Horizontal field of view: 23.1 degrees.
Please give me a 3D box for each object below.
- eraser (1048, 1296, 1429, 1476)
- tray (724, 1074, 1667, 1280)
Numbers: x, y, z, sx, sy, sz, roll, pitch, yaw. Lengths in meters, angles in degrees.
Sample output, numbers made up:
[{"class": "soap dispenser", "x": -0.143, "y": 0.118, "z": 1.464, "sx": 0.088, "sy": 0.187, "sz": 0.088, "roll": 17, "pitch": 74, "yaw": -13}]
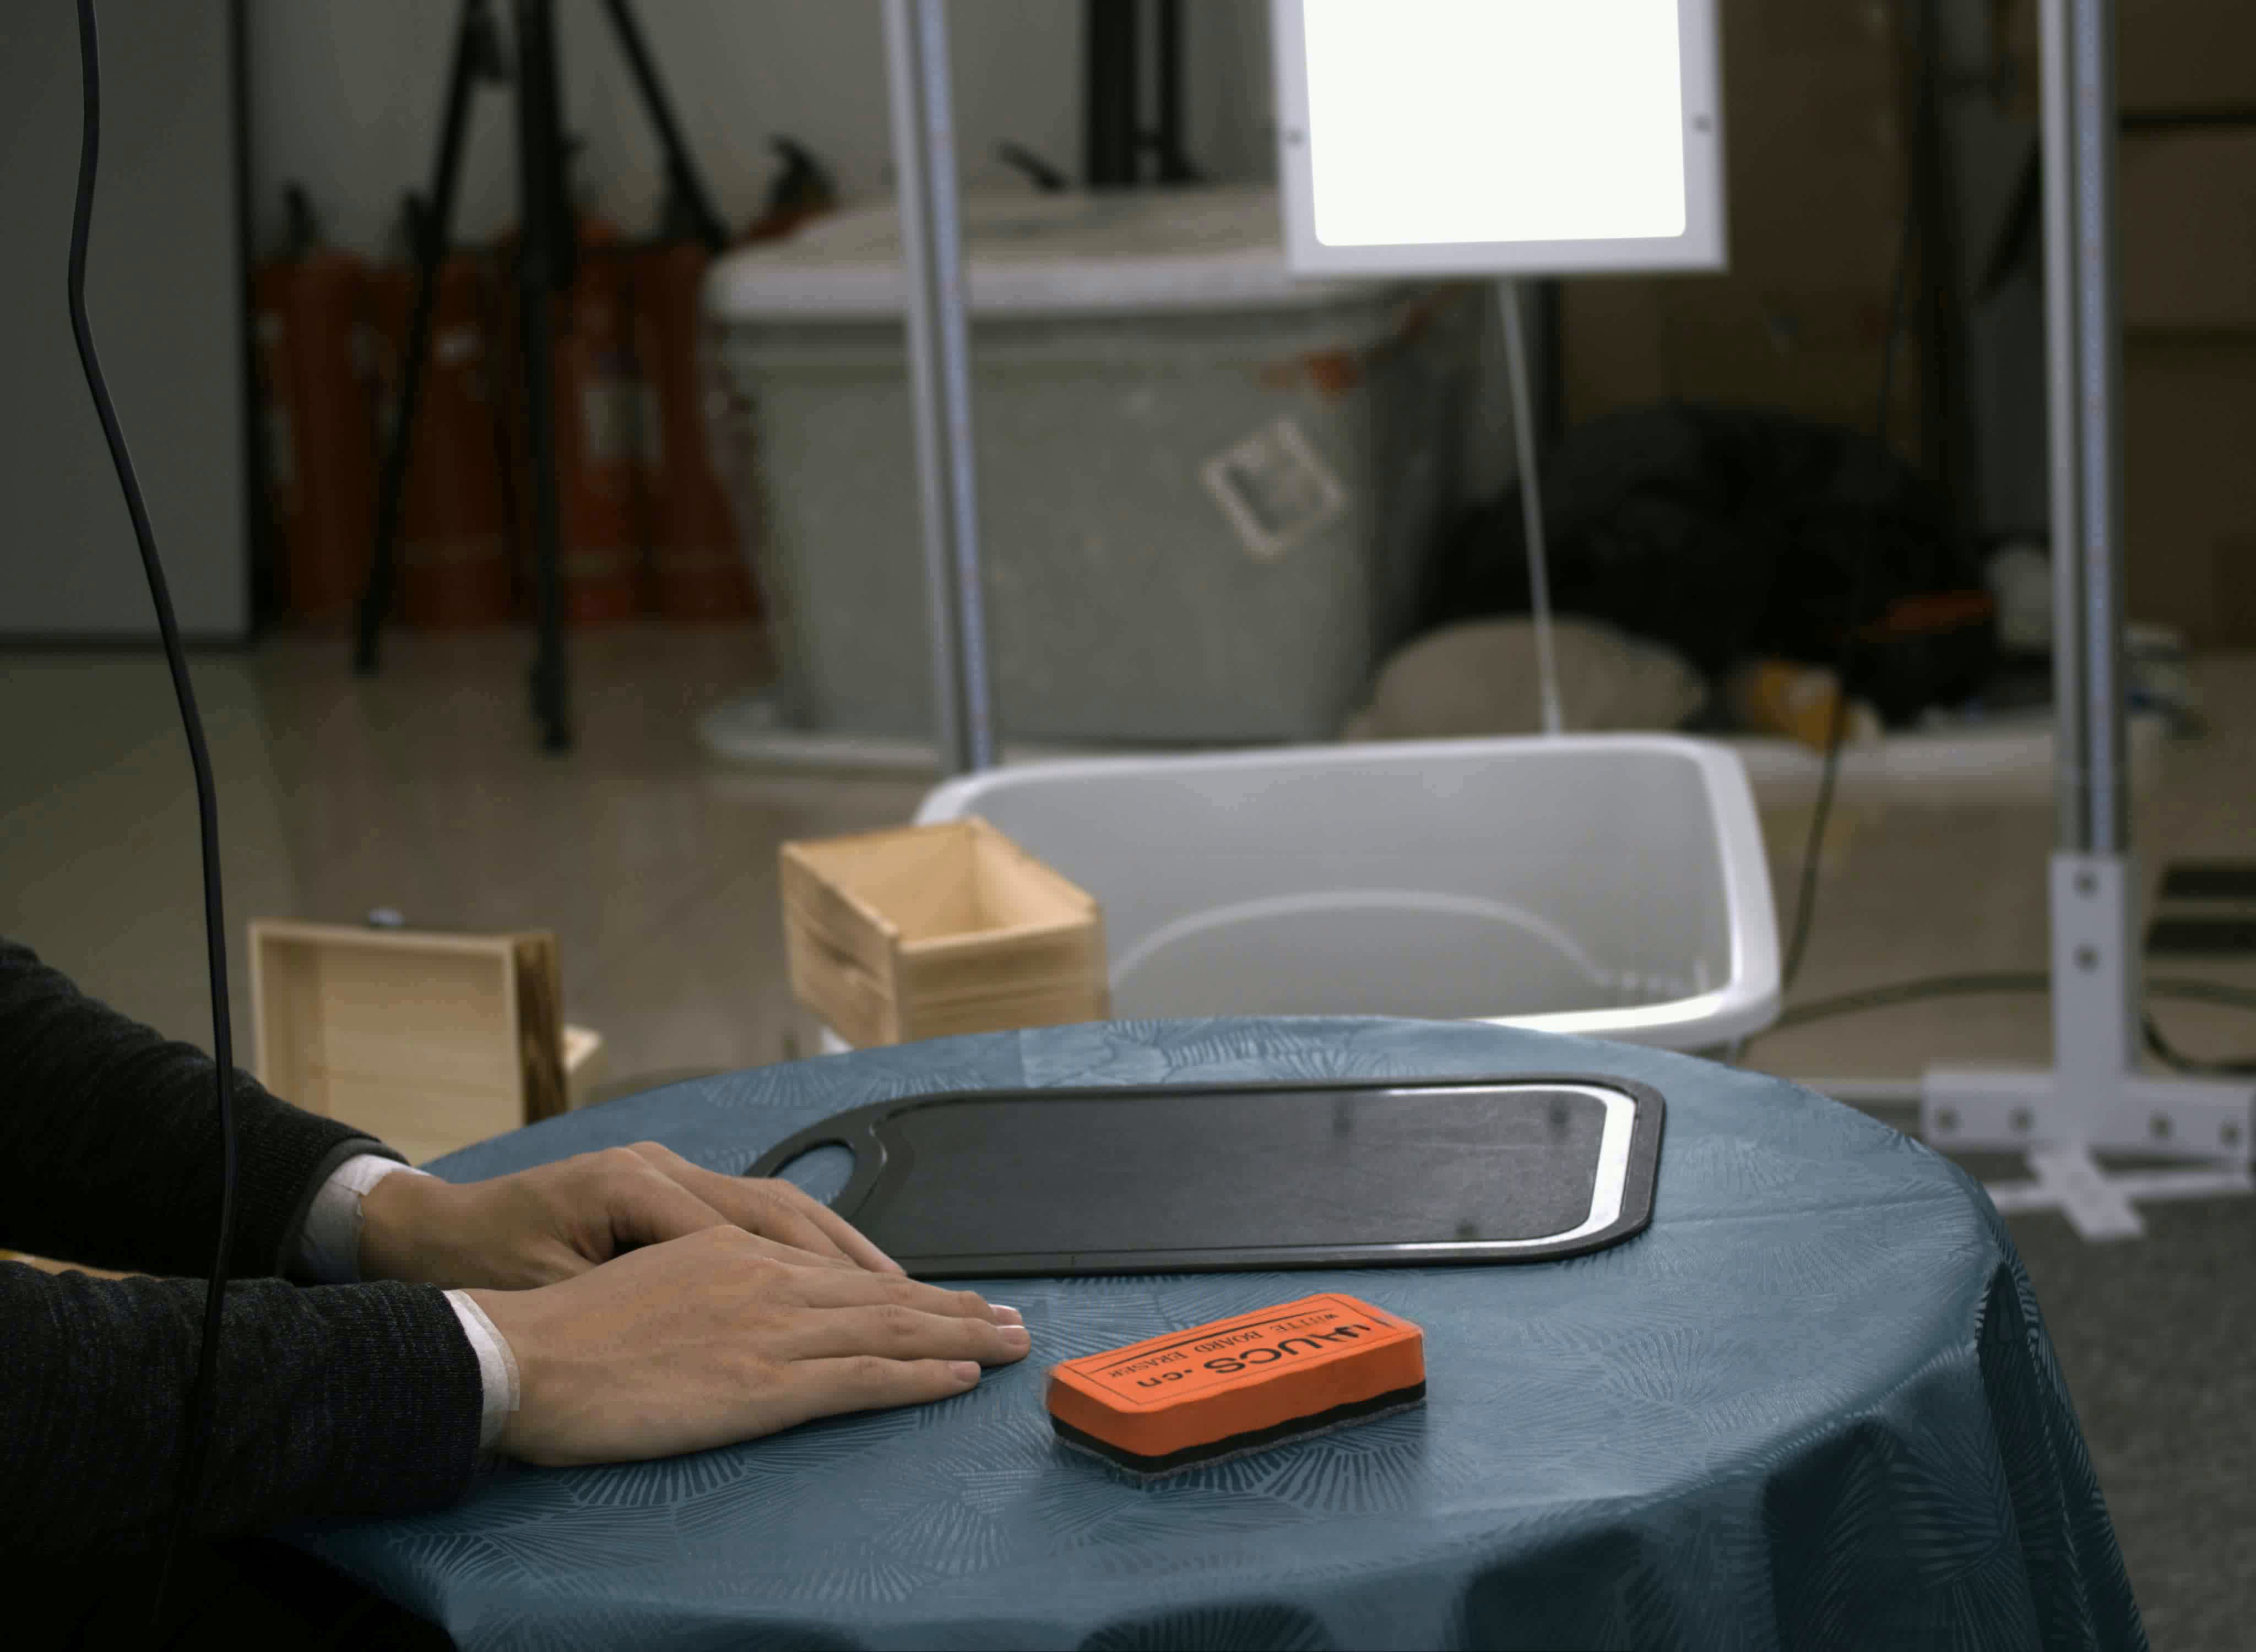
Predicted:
[{"class": "eraser", "x": 0.034, "y": 0.168, "z": 1.665, "sx": 0.106, "sy": 0.023, "sz": 0.060, "roll": -12, "pitch": 13, "yaw": -25}, {"class": "tray", "x": 0.022, "y": 0.119, "z": 1.907, "sx": 0.327, "sy": 0.010, "sz": 0.209, "roll": -3, "pitch": 14, "yaw": 11}]
